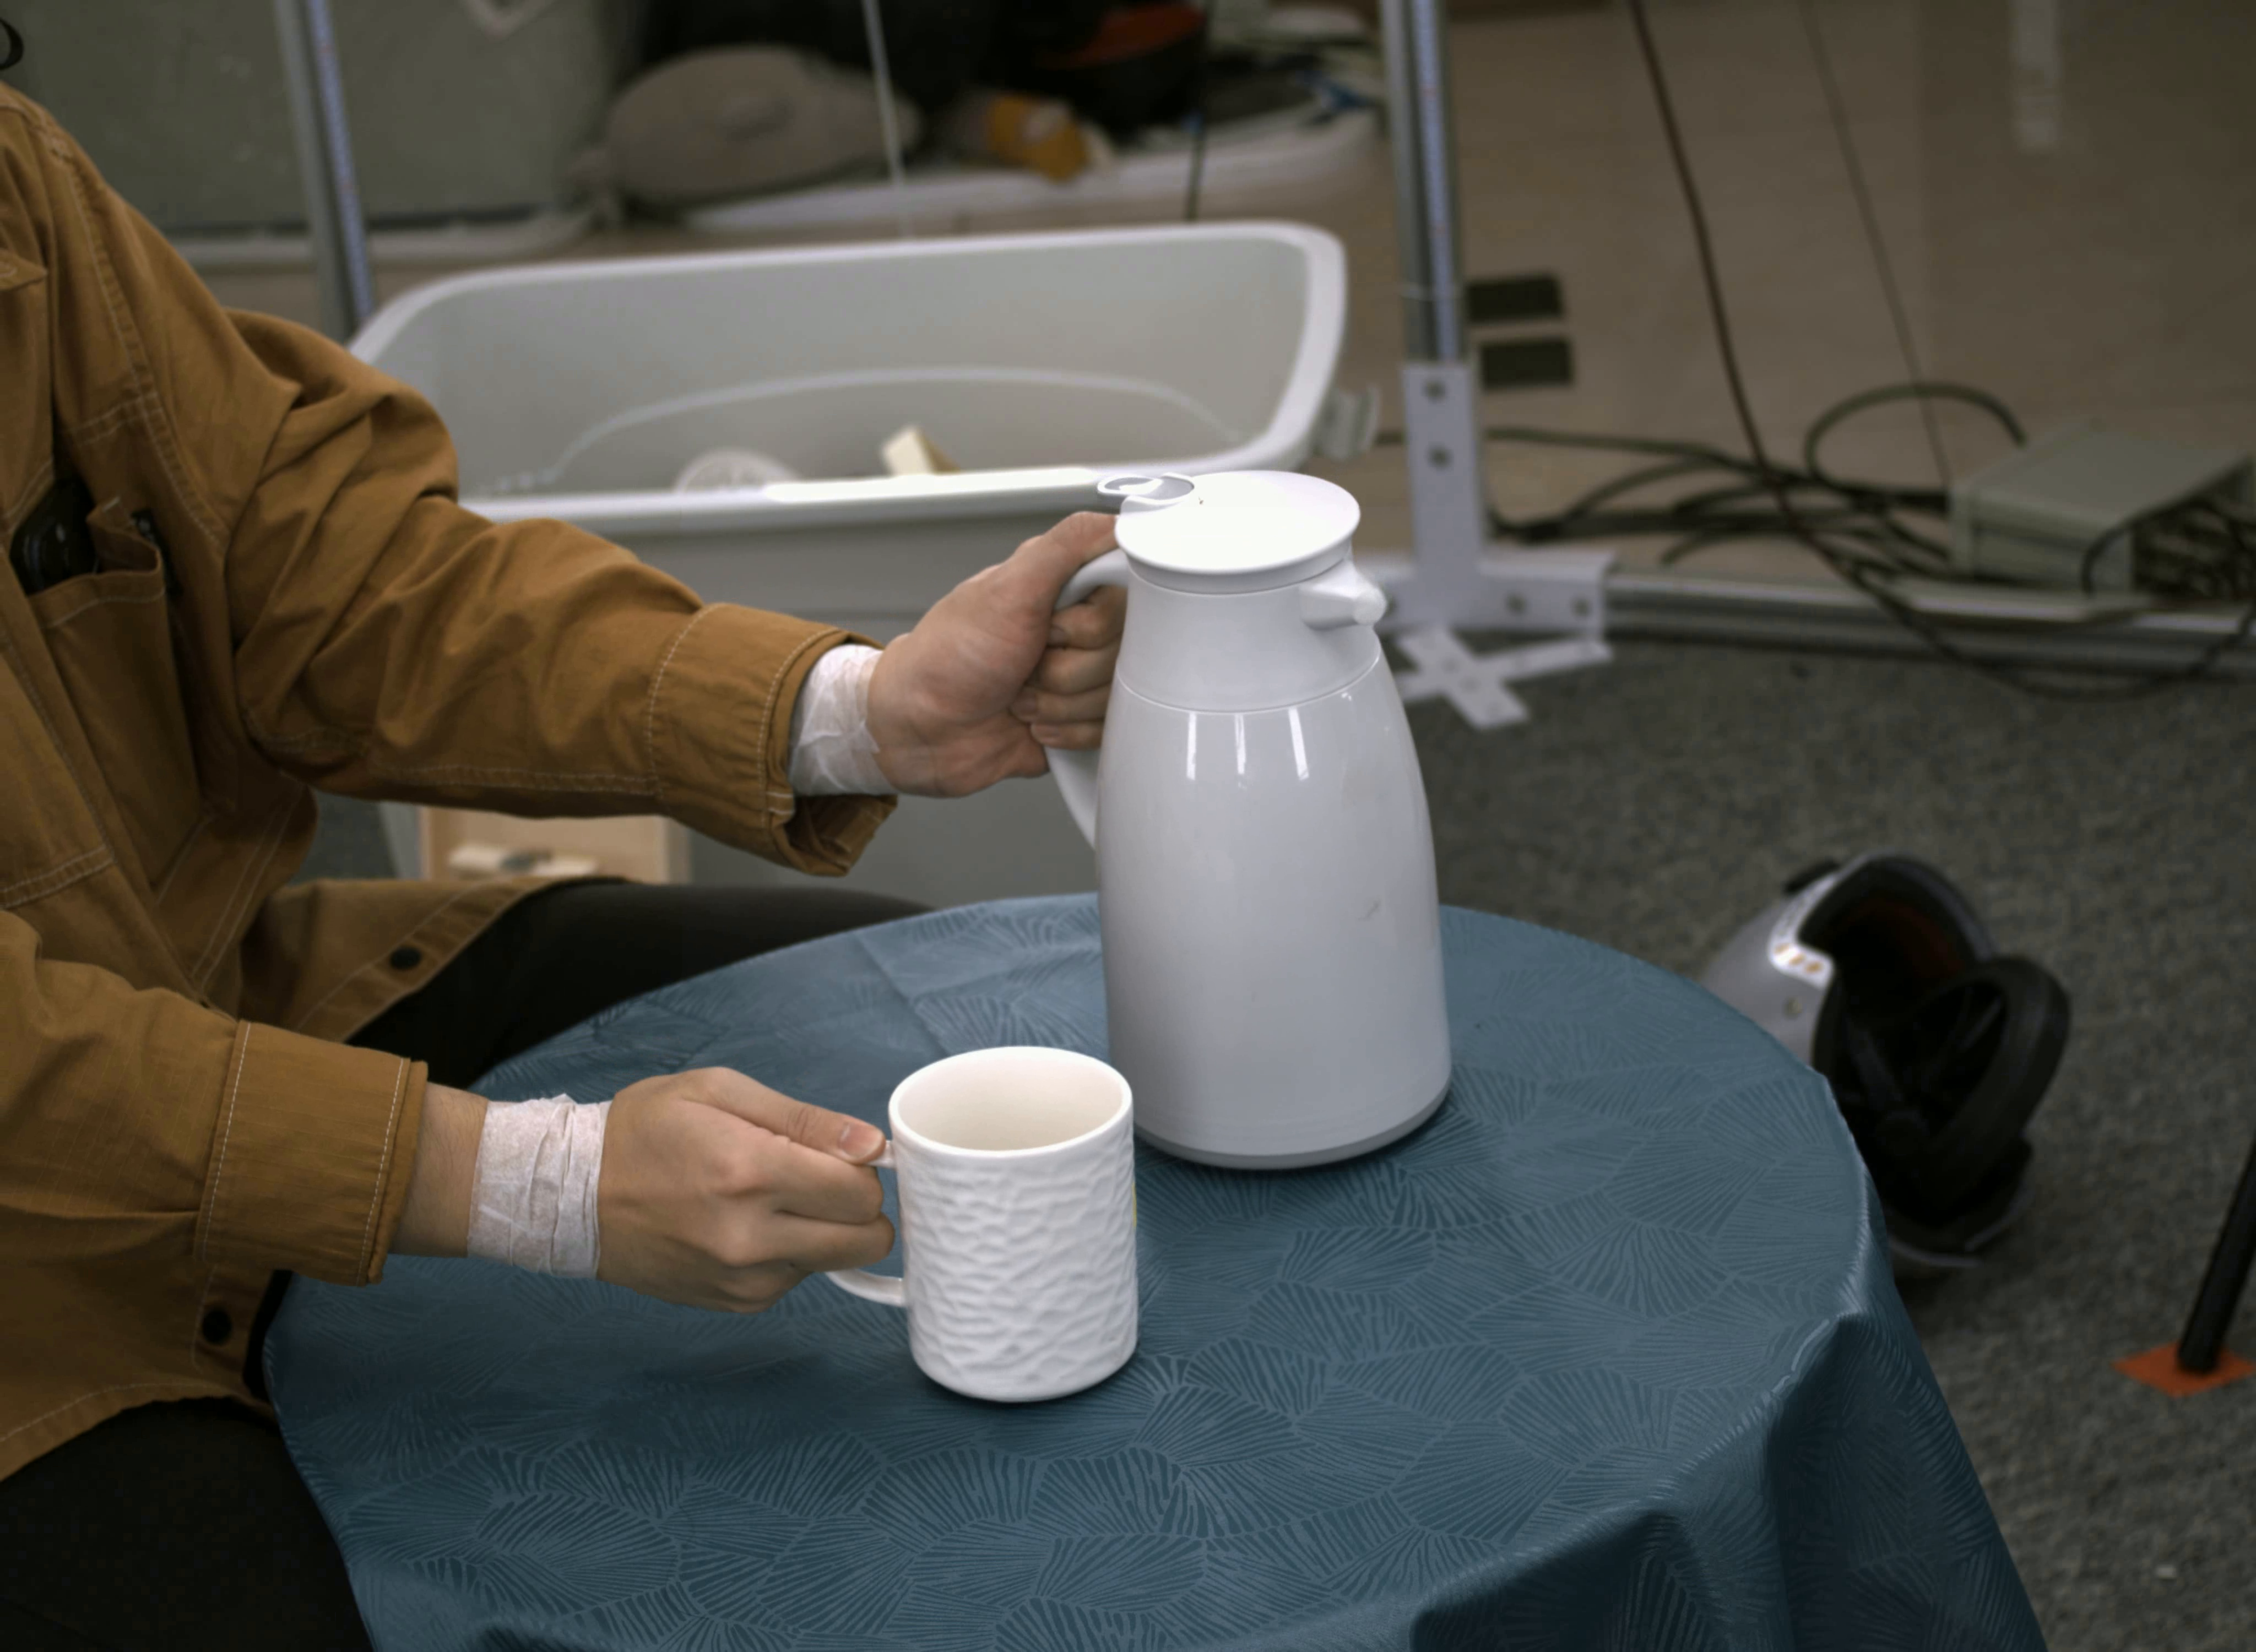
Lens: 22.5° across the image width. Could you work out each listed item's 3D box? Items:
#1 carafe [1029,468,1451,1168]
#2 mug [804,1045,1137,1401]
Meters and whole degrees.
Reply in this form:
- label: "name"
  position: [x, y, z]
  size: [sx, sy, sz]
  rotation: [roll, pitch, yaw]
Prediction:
- label: "carafe"
  position: [0.034, -0.014, 2.151]
  size: [0.166, 0.253, 0.131]
  rotation: [16, 35, 36]
- label: "mug"
  position: [-0.056, 0.143, 2.023]
  size: [0.118, 0.103, 0.083]
  rotation: [-2, 26, -1]
